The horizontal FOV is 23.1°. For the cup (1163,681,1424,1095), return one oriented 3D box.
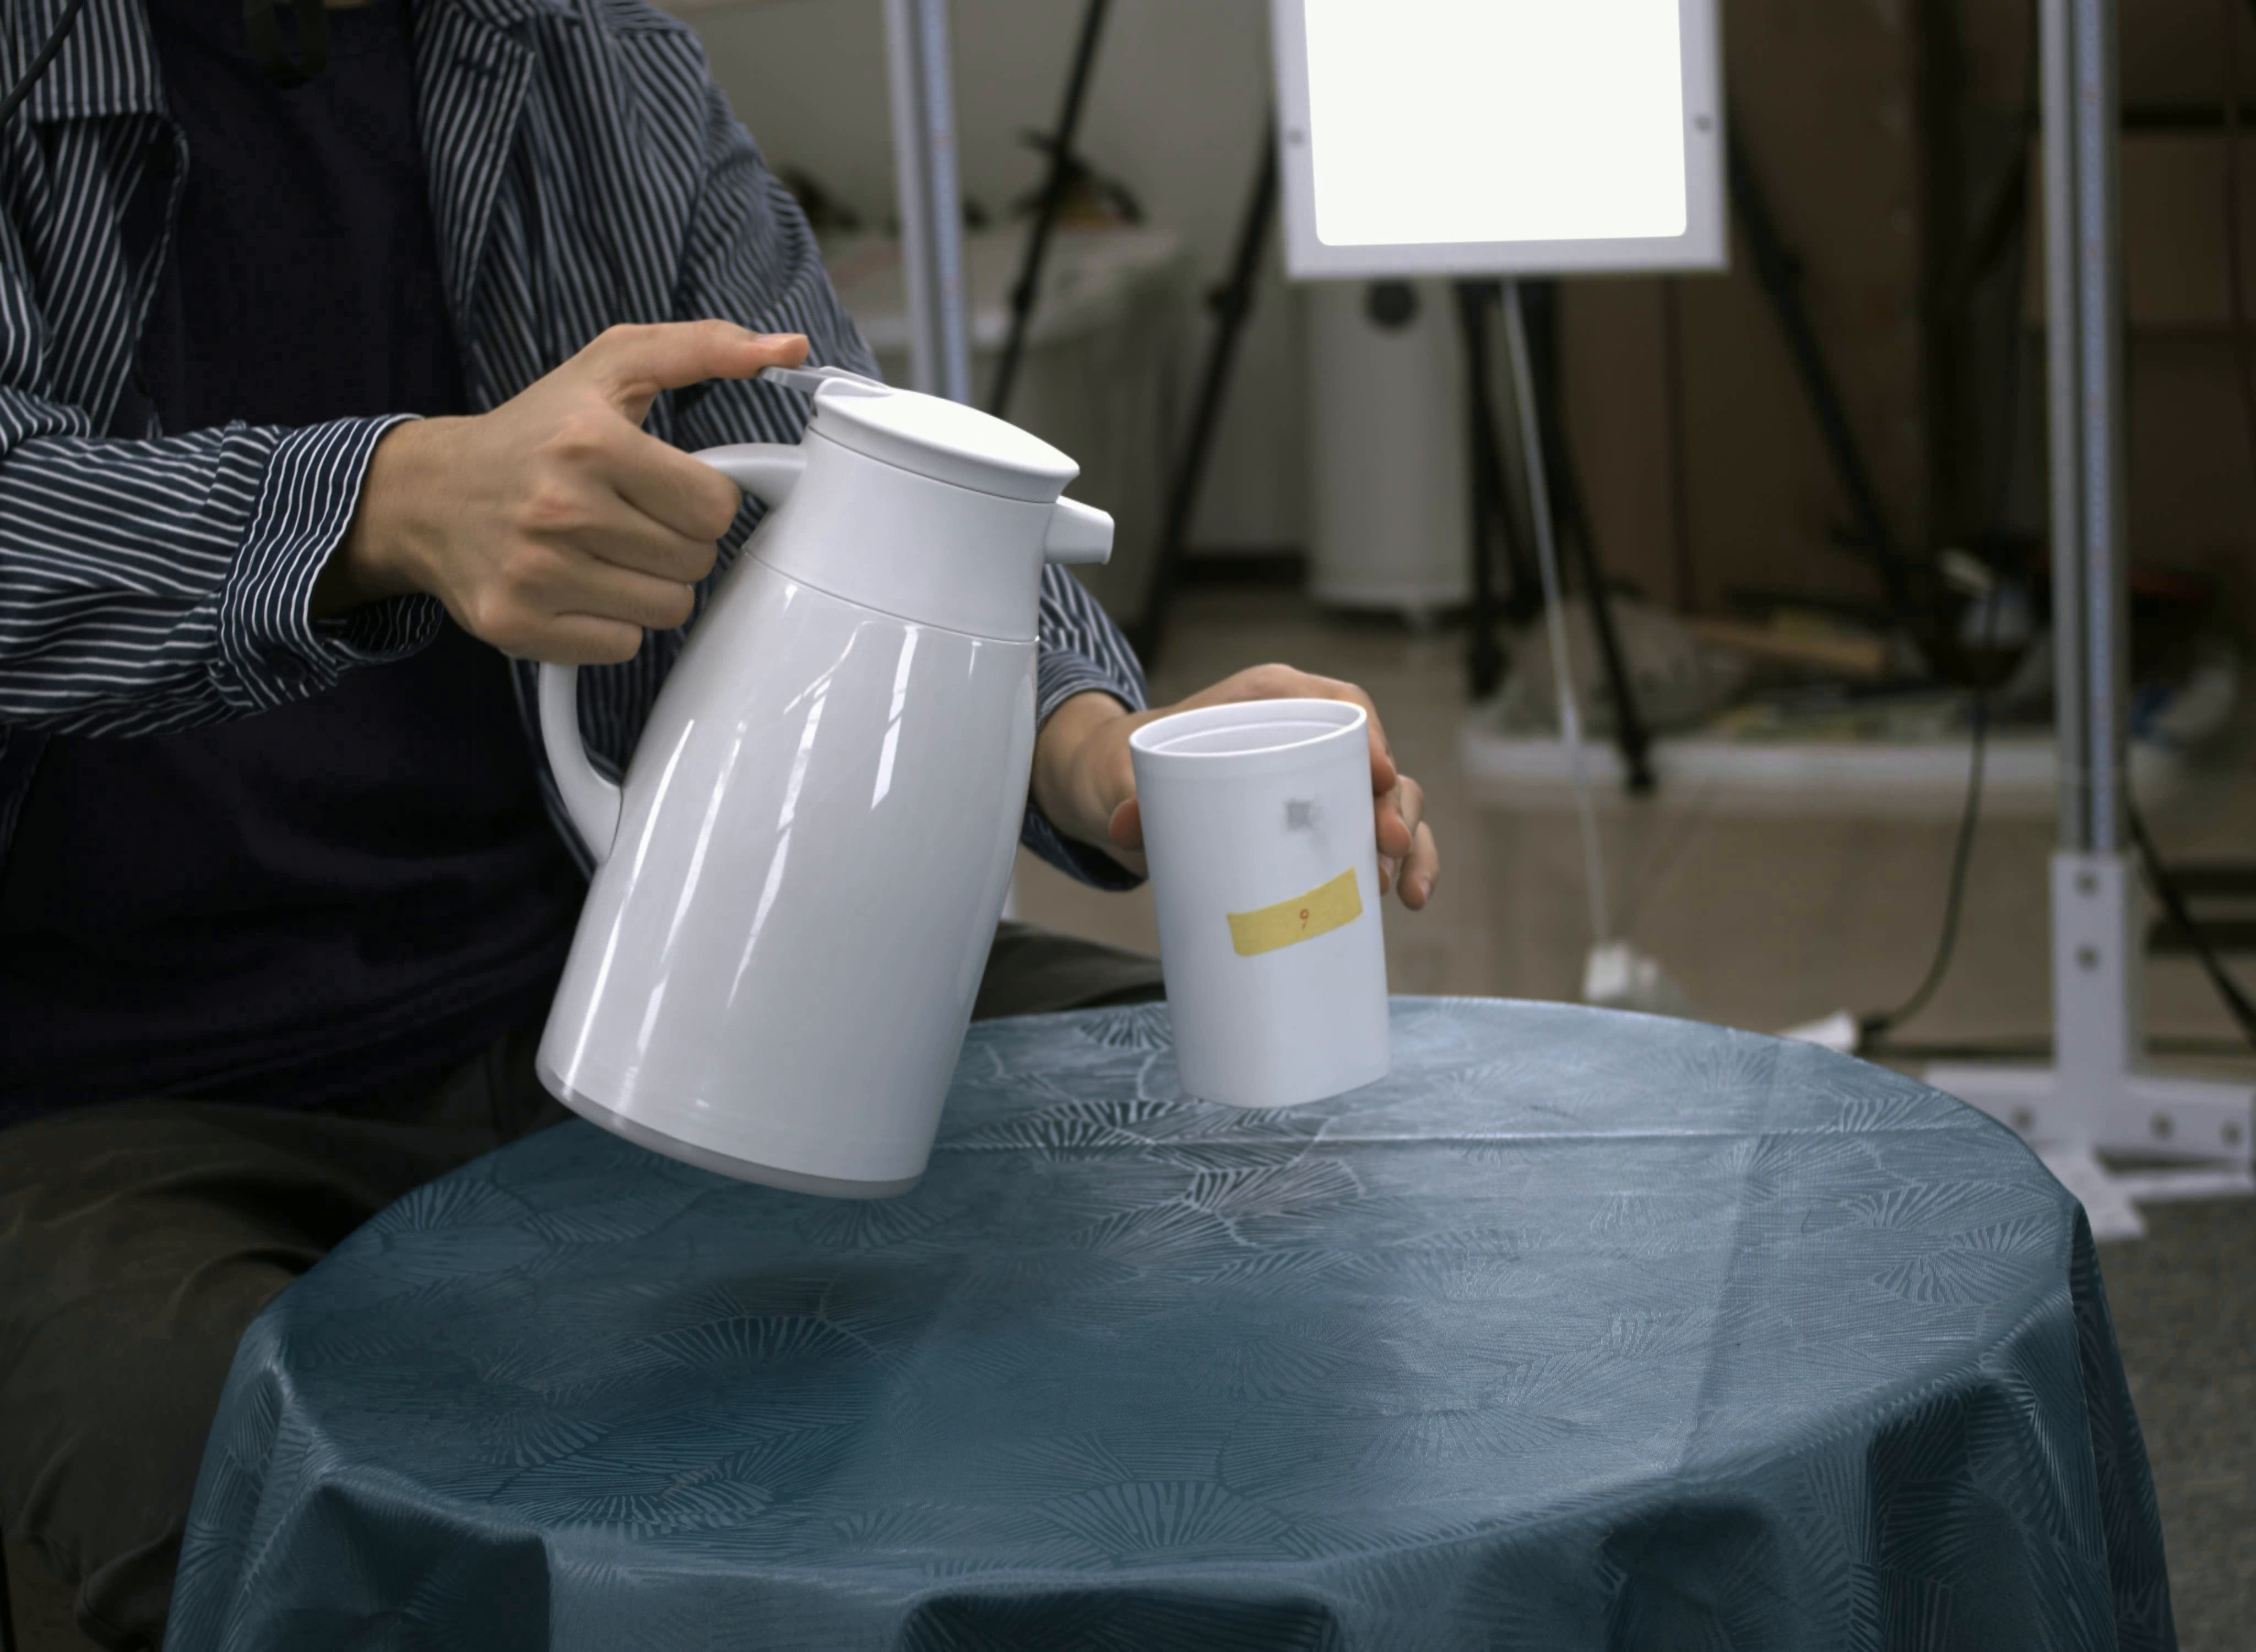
[{"bbox_3d":[0.059,0.021,1.853,0.081,0.126,0.081,-7,13,0],"label":"cup"}]

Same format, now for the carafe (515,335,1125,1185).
[{"bbox_3d":[-0.111,-0.029,1.762,0.165,0.250,0.133,17,12,-16],"label":"carafe"}]
